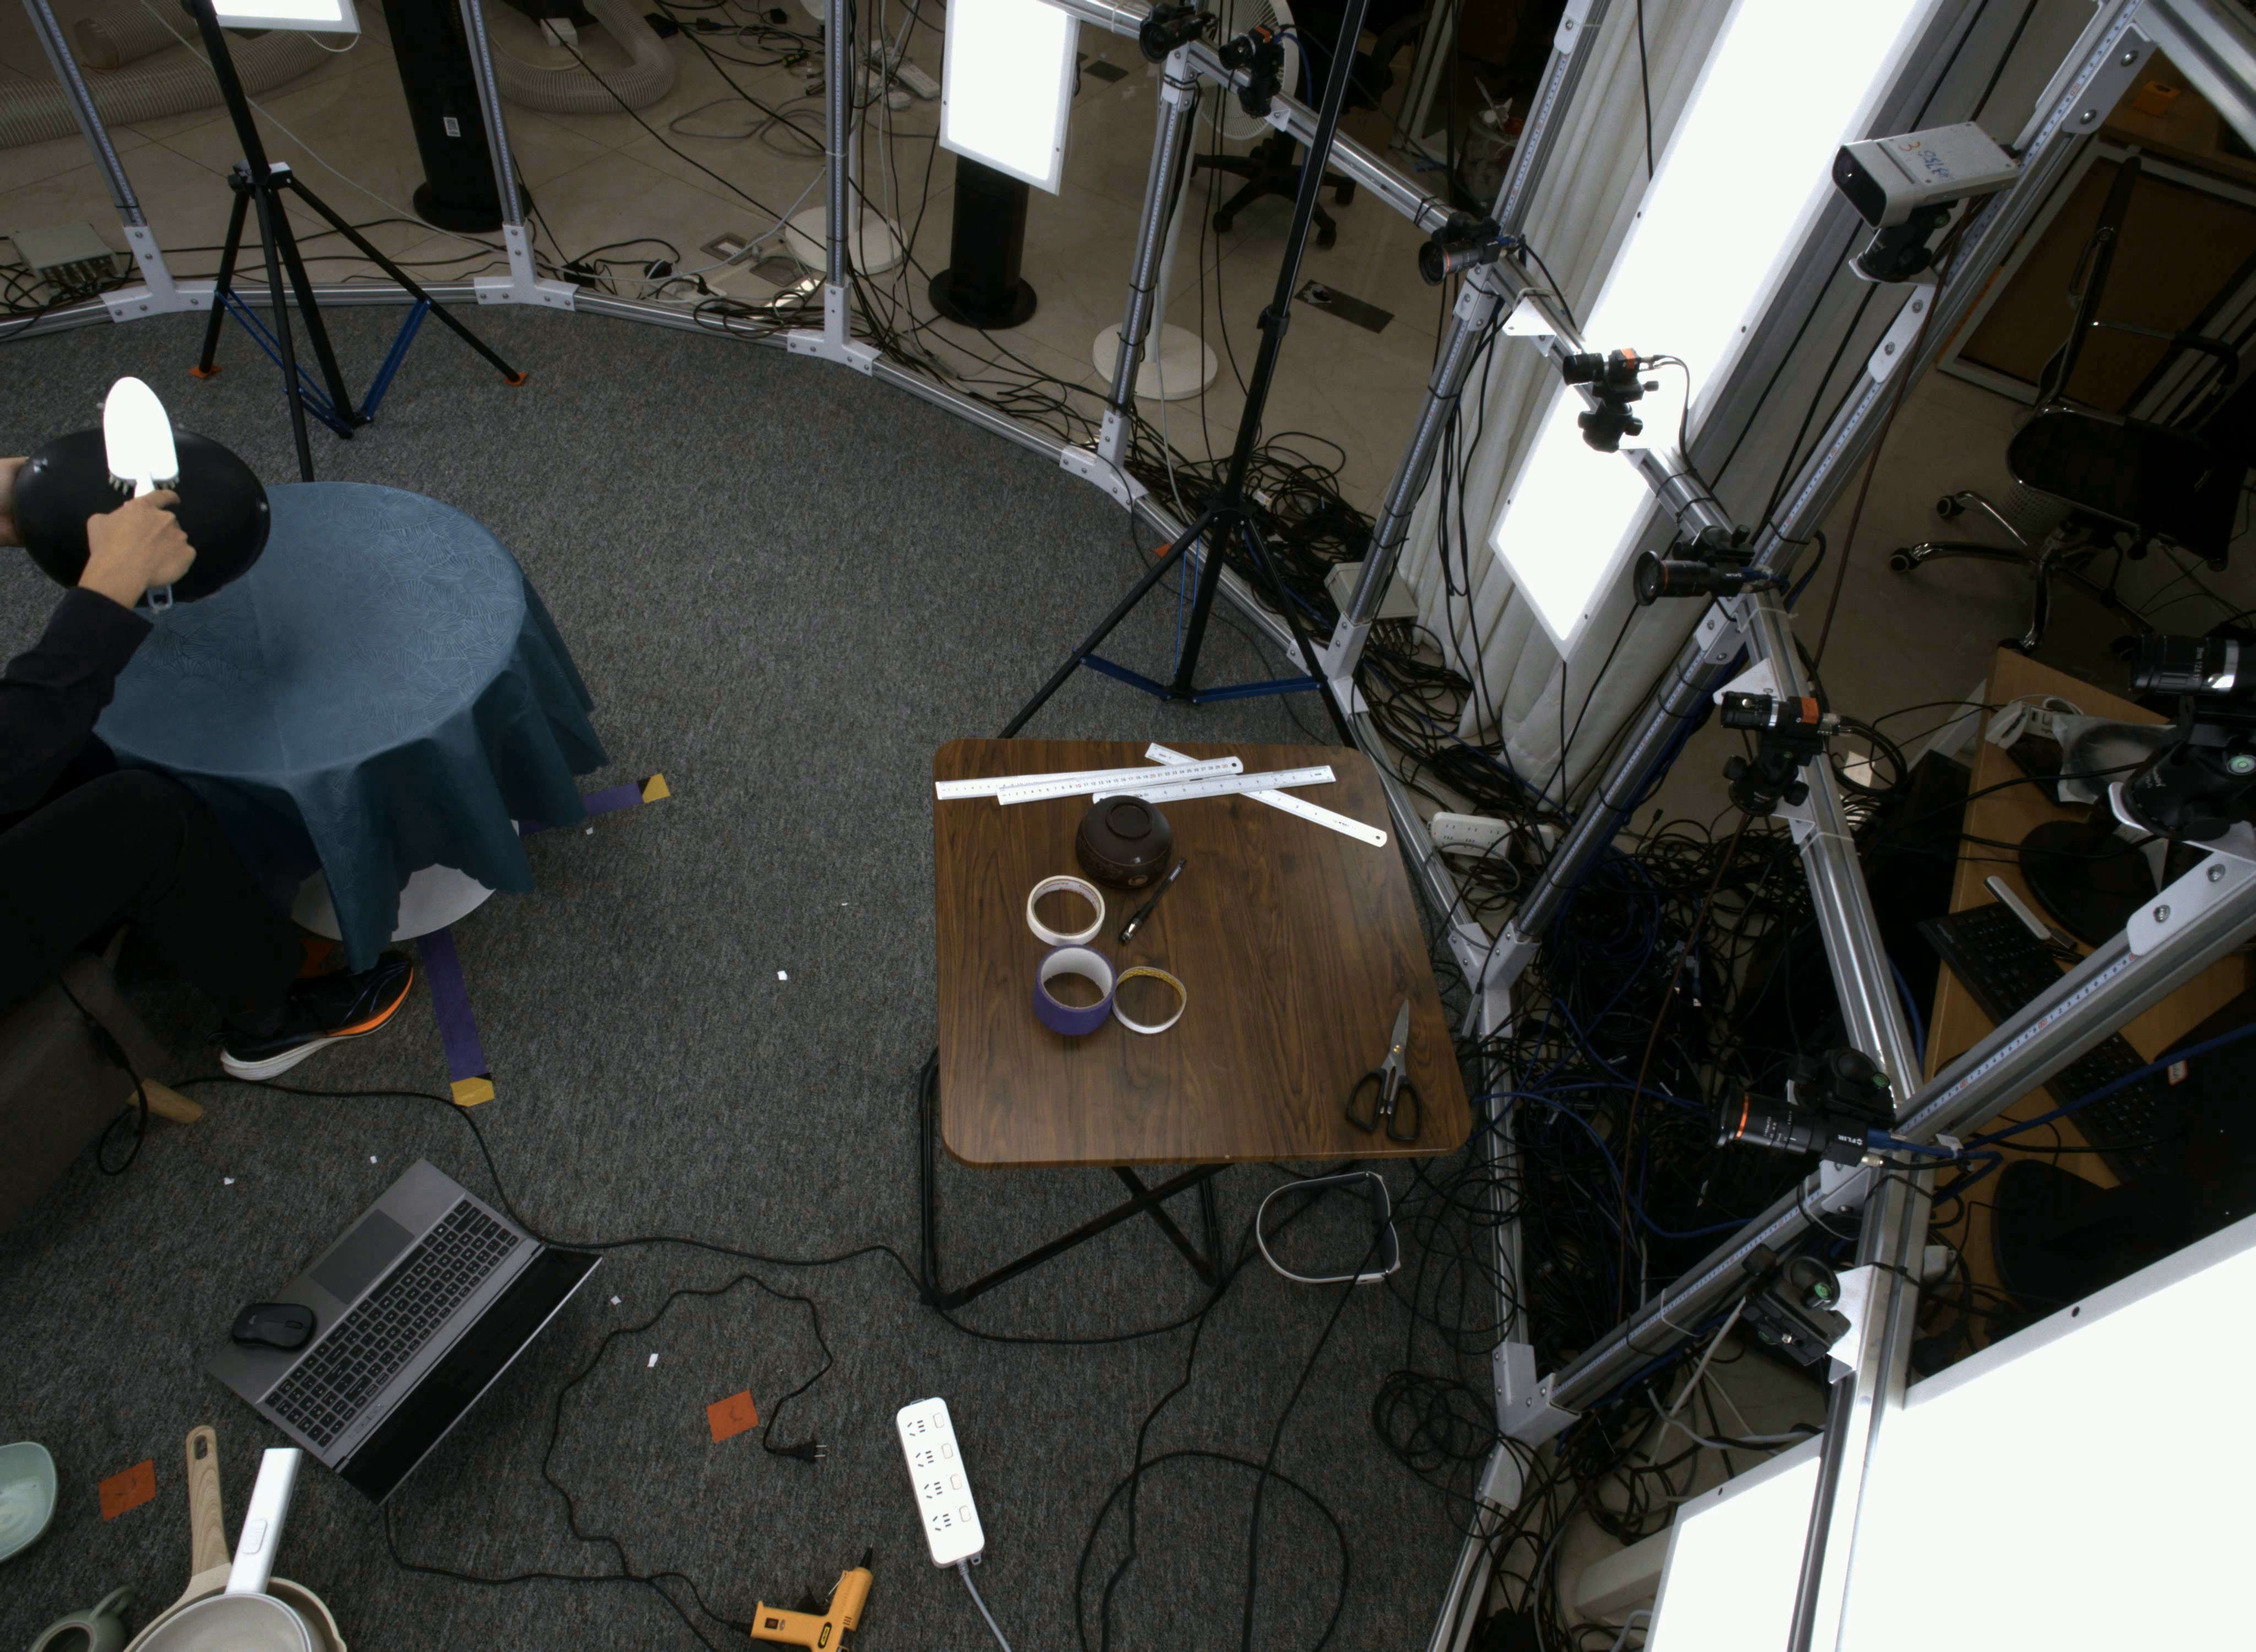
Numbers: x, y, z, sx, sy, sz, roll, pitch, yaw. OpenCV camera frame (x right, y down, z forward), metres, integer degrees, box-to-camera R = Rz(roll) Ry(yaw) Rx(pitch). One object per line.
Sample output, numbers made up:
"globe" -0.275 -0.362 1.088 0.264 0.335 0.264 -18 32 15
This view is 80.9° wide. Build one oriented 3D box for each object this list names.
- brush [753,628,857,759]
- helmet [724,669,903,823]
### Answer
"brush" -0.461 -0.170 1.826 0.081 0.088 0.321 -10 35 22
"helmet" -0.489 -0.133 1.954 0.269 0.230 0.169 7 -11 4
